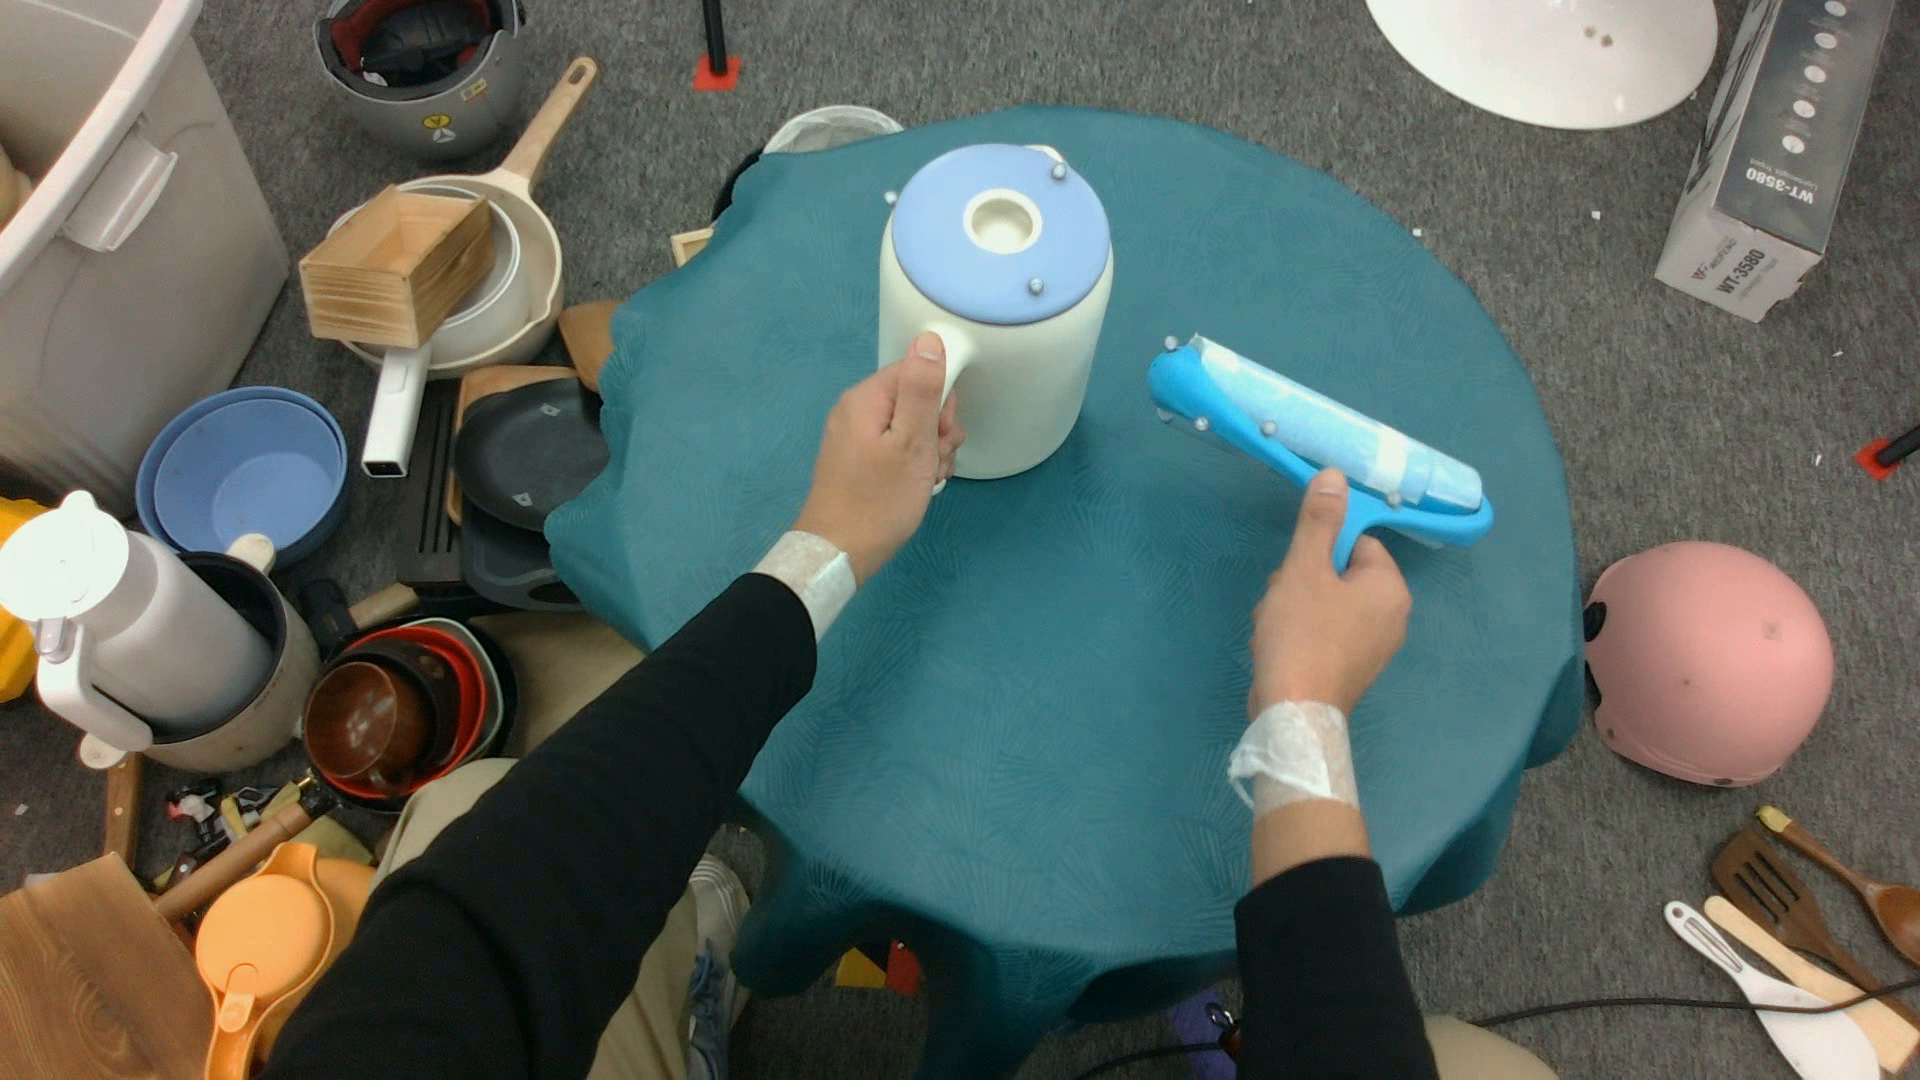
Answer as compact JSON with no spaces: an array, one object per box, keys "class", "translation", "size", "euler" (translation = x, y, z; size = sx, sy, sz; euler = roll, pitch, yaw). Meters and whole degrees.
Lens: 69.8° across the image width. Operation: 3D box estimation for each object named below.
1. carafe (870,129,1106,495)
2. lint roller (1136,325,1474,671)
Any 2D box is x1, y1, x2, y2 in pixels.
[{"class":"carafe","translation":[0.003,-0.118,0.801],"size":[0.132,0.182,0.192],"euler":[22,67,7]},{"class":"lint roller","translation":[0.196,-0.014,0.781],"size":[0.229,0.067,0.181],"euler":[23,54,-19]}]
